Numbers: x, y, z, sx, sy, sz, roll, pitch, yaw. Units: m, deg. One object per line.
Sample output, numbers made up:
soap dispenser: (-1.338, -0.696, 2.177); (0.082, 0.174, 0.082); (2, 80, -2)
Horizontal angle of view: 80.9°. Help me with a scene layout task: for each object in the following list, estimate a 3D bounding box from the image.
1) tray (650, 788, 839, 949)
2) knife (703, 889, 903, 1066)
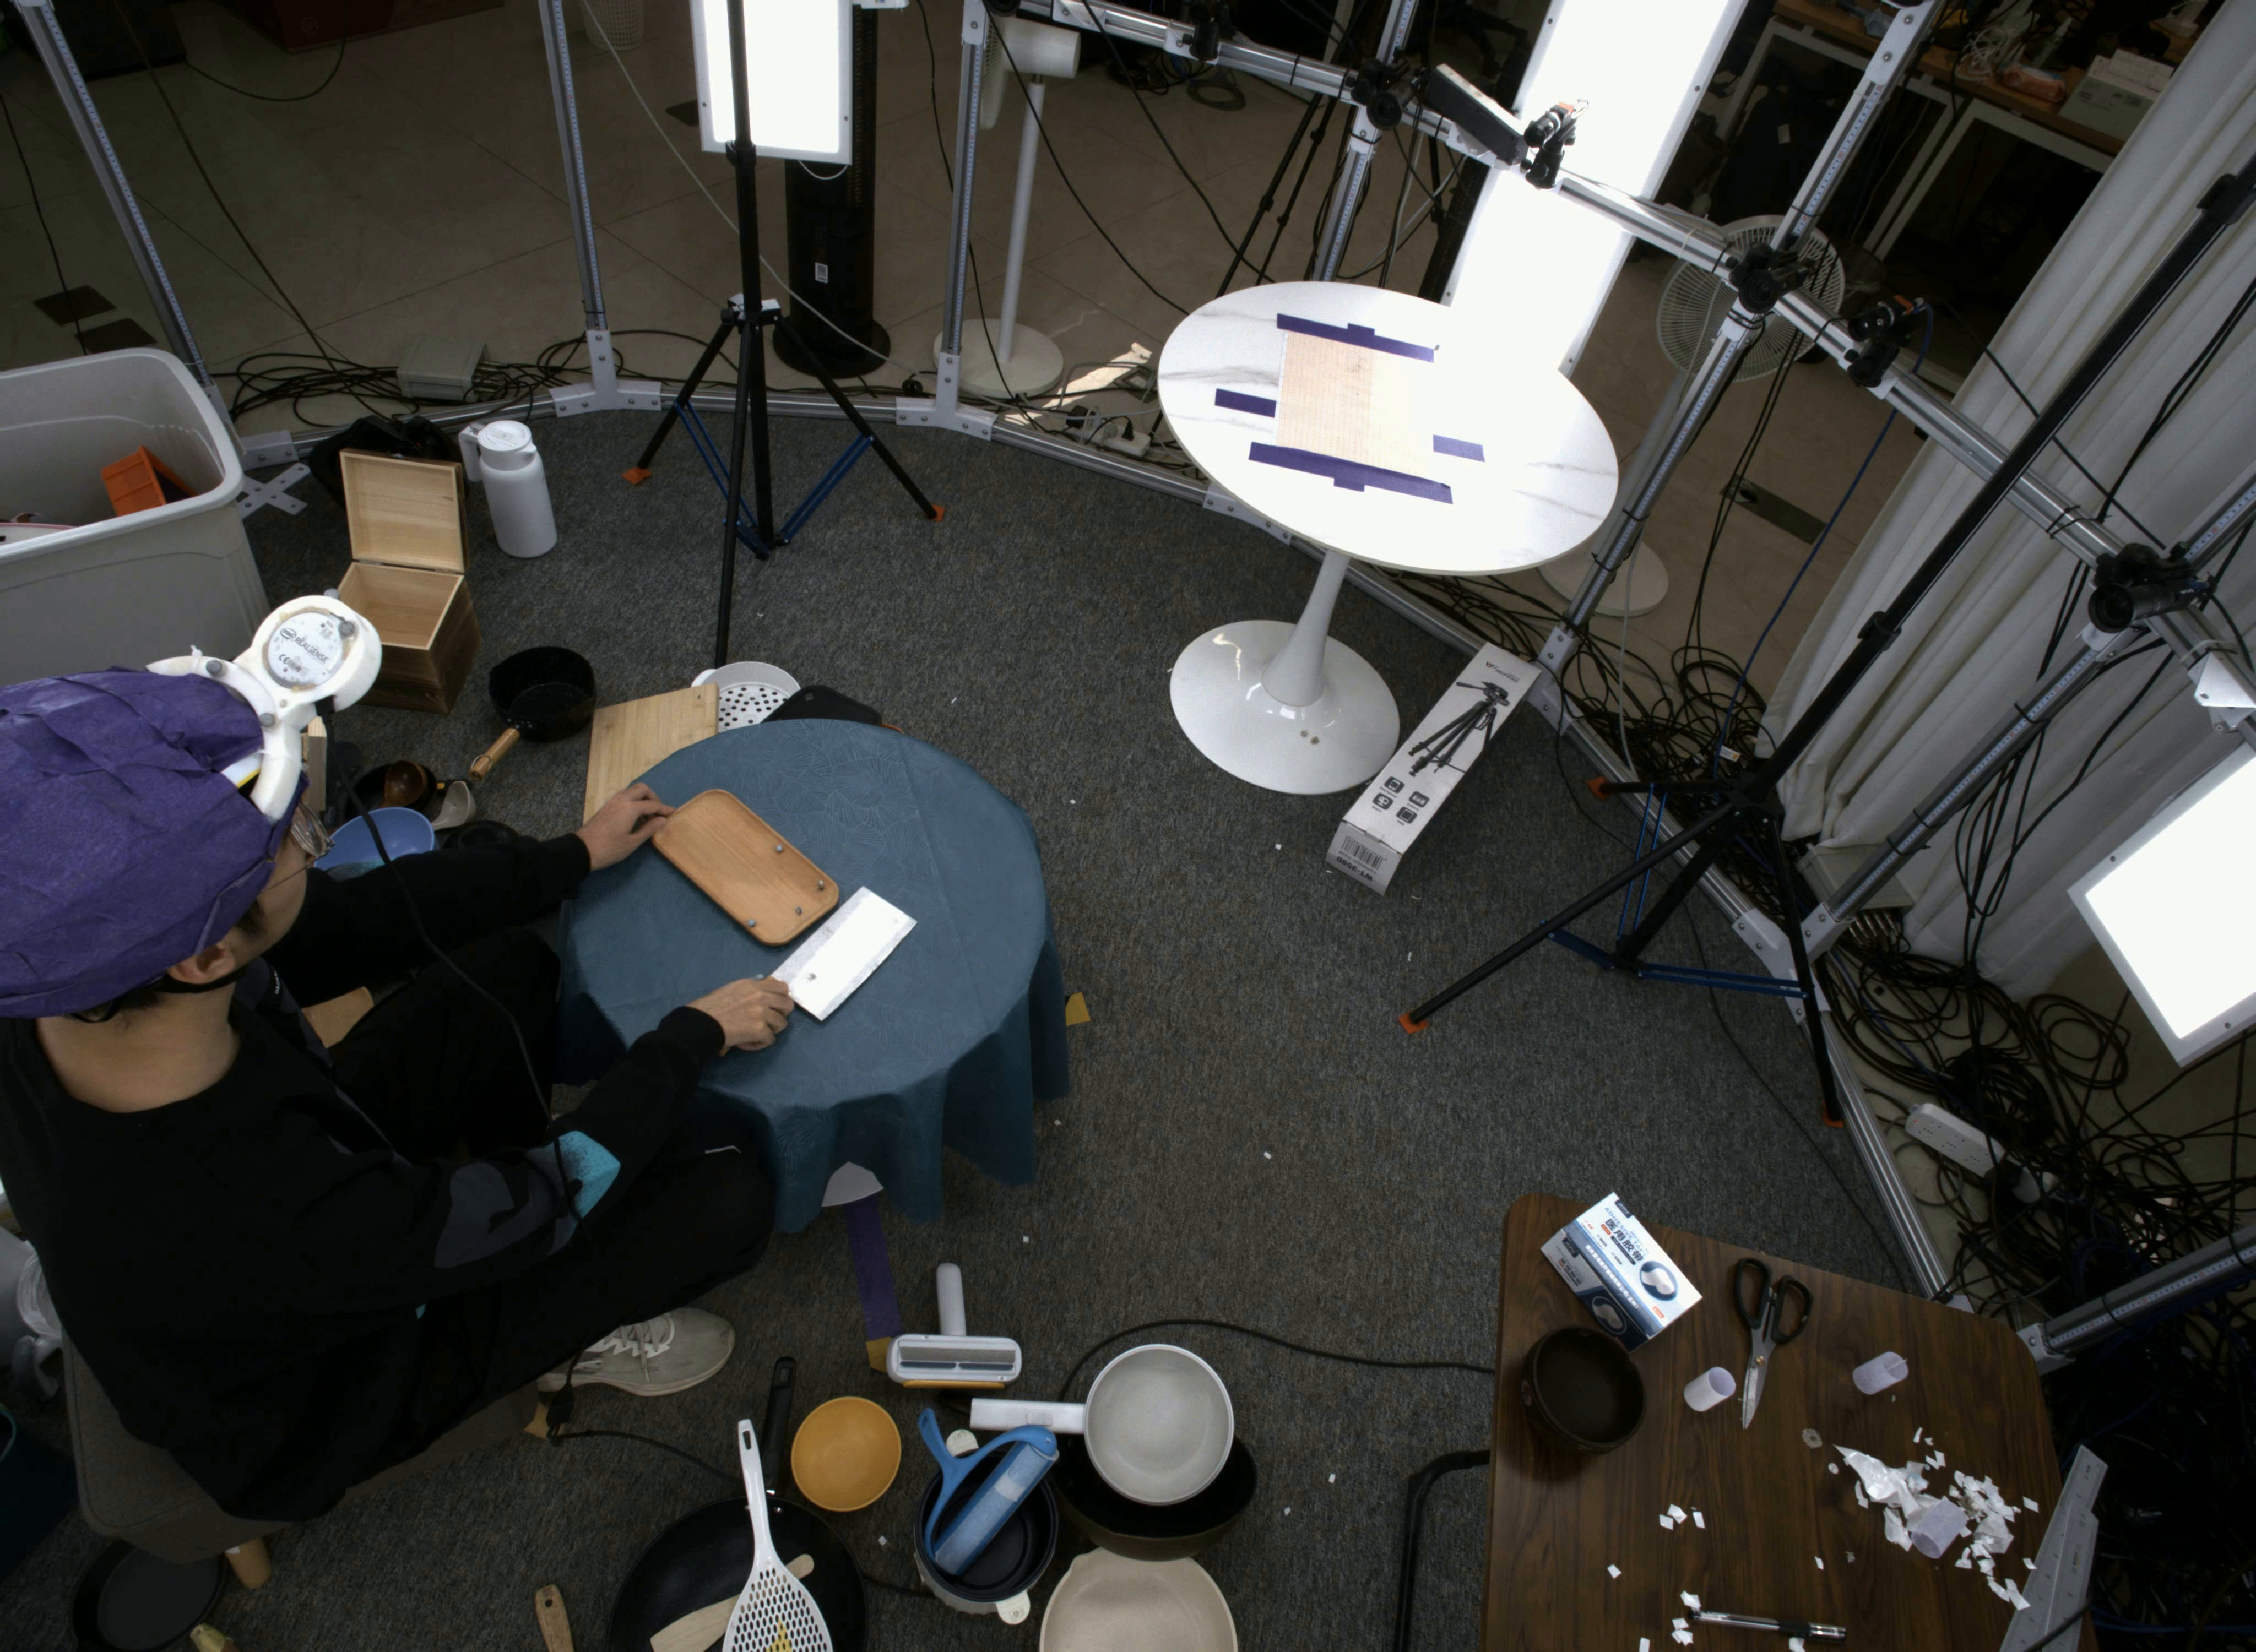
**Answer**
tray: (-0.490, 0.050, 1.648); (0.245, 0.023, 0.131); (38, 51, 15)
knife: (-0.383, 0.187, 1.574); (0.091, 0.021, 0.305); (33, 50, 9)
